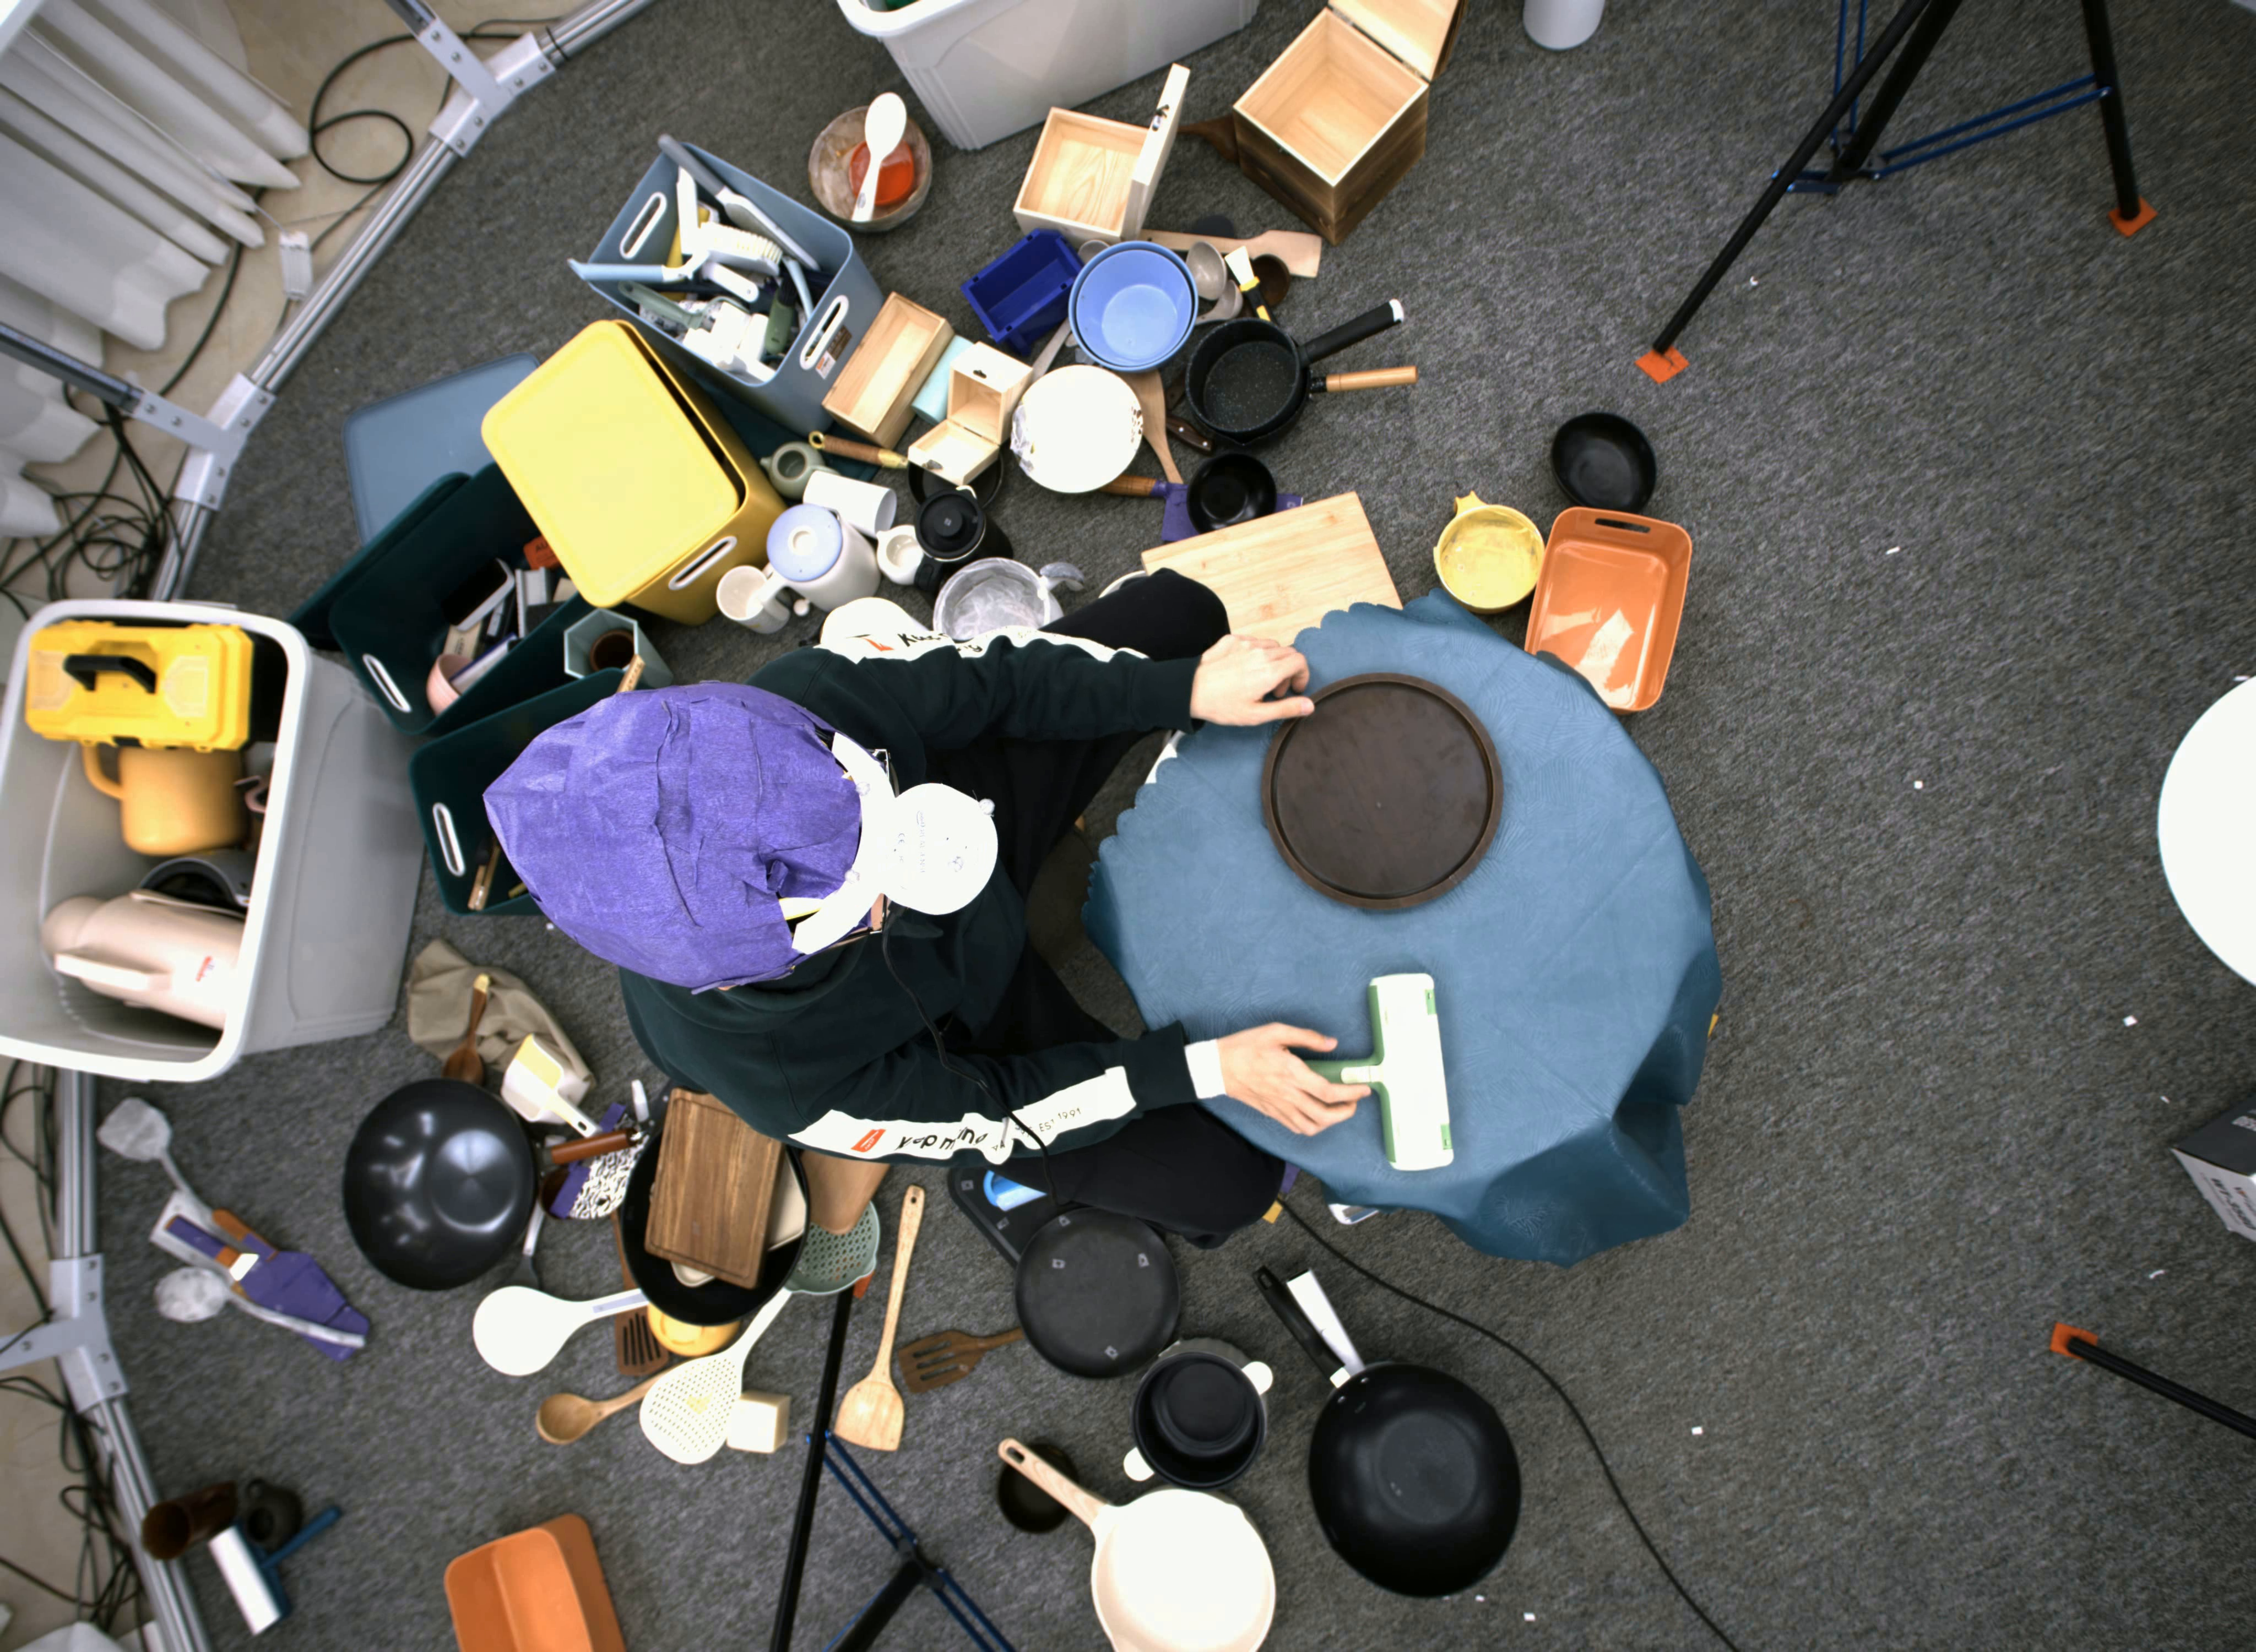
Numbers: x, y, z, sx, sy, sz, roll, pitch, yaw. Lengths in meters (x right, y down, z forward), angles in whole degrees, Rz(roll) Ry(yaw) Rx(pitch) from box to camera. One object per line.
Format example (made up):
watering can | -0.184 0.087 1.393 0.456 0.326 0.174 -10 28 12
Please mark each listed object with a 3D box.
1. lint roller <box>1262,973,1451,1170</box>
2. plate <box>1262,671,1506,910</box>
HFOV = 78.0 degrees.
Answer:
lint roller | 0.228 0.254 1.413 0.184 0.082 0.197 -6 86 6
plate | 0.267 -0.039 1.449 0.256 0.029 0.254 -1 88 9
